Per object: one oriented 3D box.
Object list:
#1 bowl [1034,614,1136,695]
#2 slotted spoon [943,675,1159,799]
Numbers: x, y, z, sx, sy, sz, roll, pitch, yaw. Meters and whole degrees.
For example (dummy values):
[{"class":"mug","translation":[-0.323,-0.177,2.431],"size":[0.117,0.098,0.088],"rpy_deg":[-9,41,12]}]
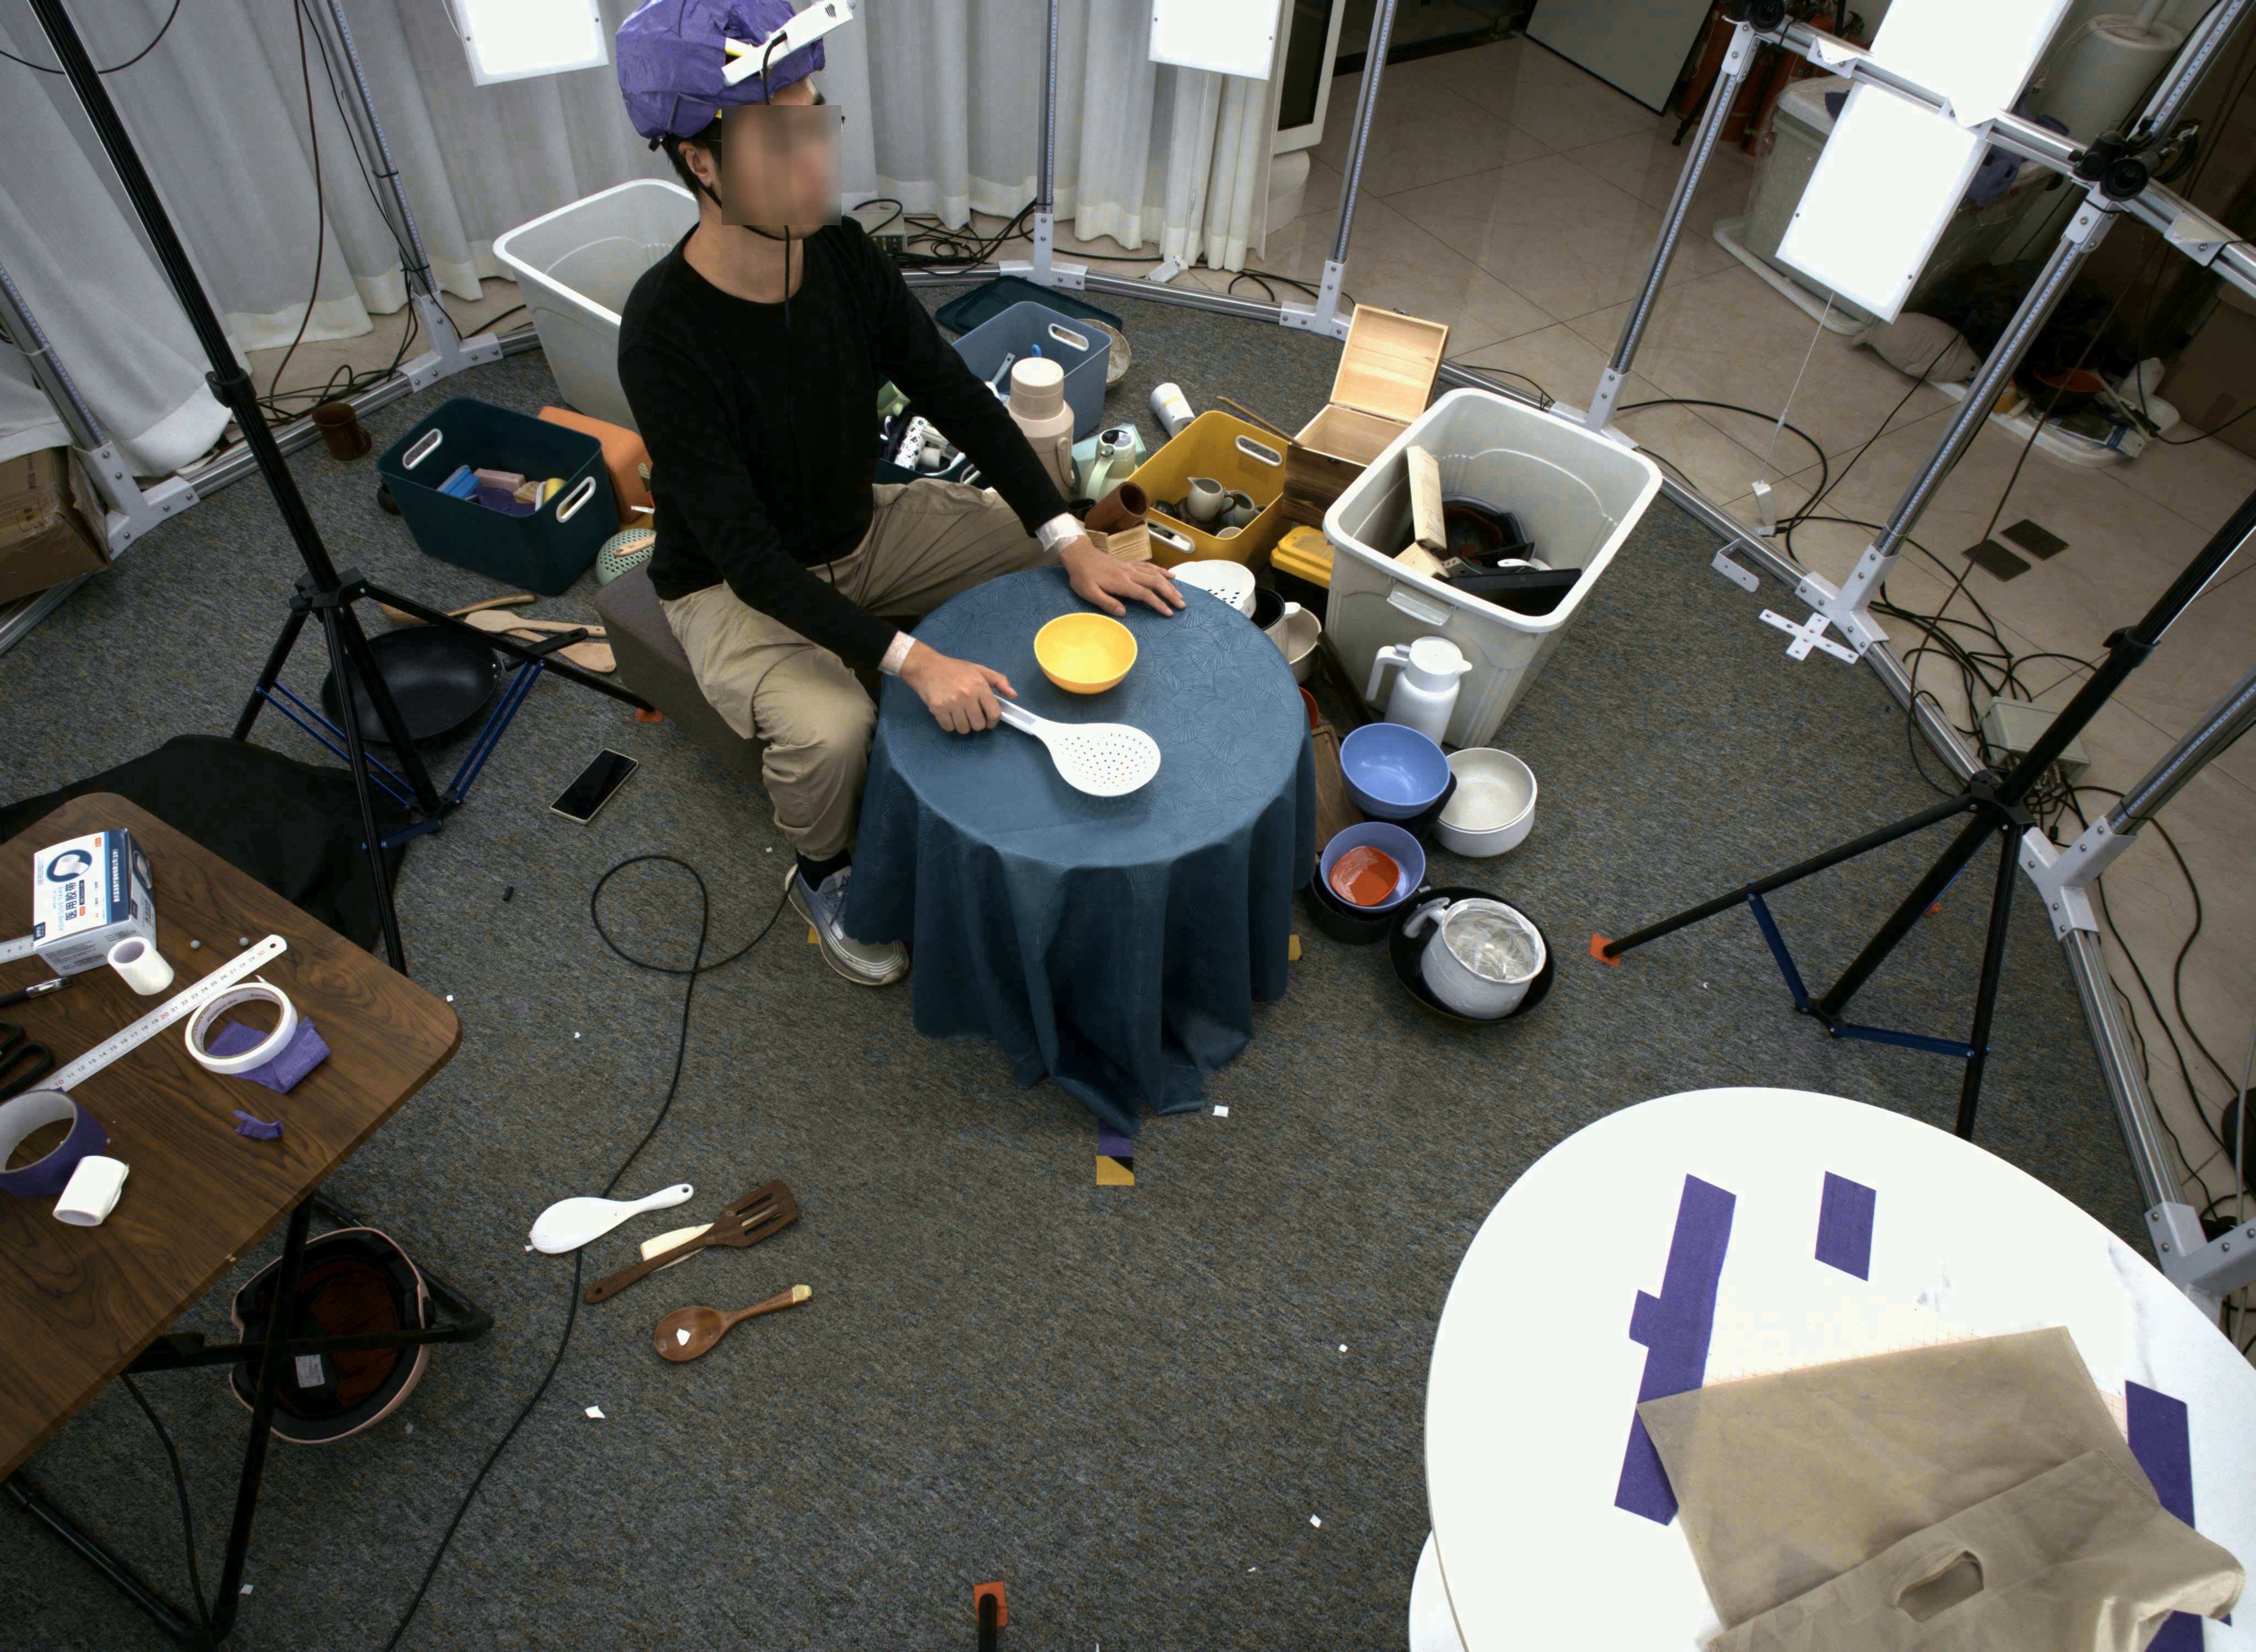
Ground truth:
[{"class":"bowl","translation":[-0.063,-0.233,1.832],"size":[0.145,0.058,0.149],"rpy_deg":[3,48,-4]},{"class":"slotted spoon","translation":[-0.114,-0.129,1.745],"size":[0.353,0.044,0.138],"rpy_deg":[30,55,22]}]
